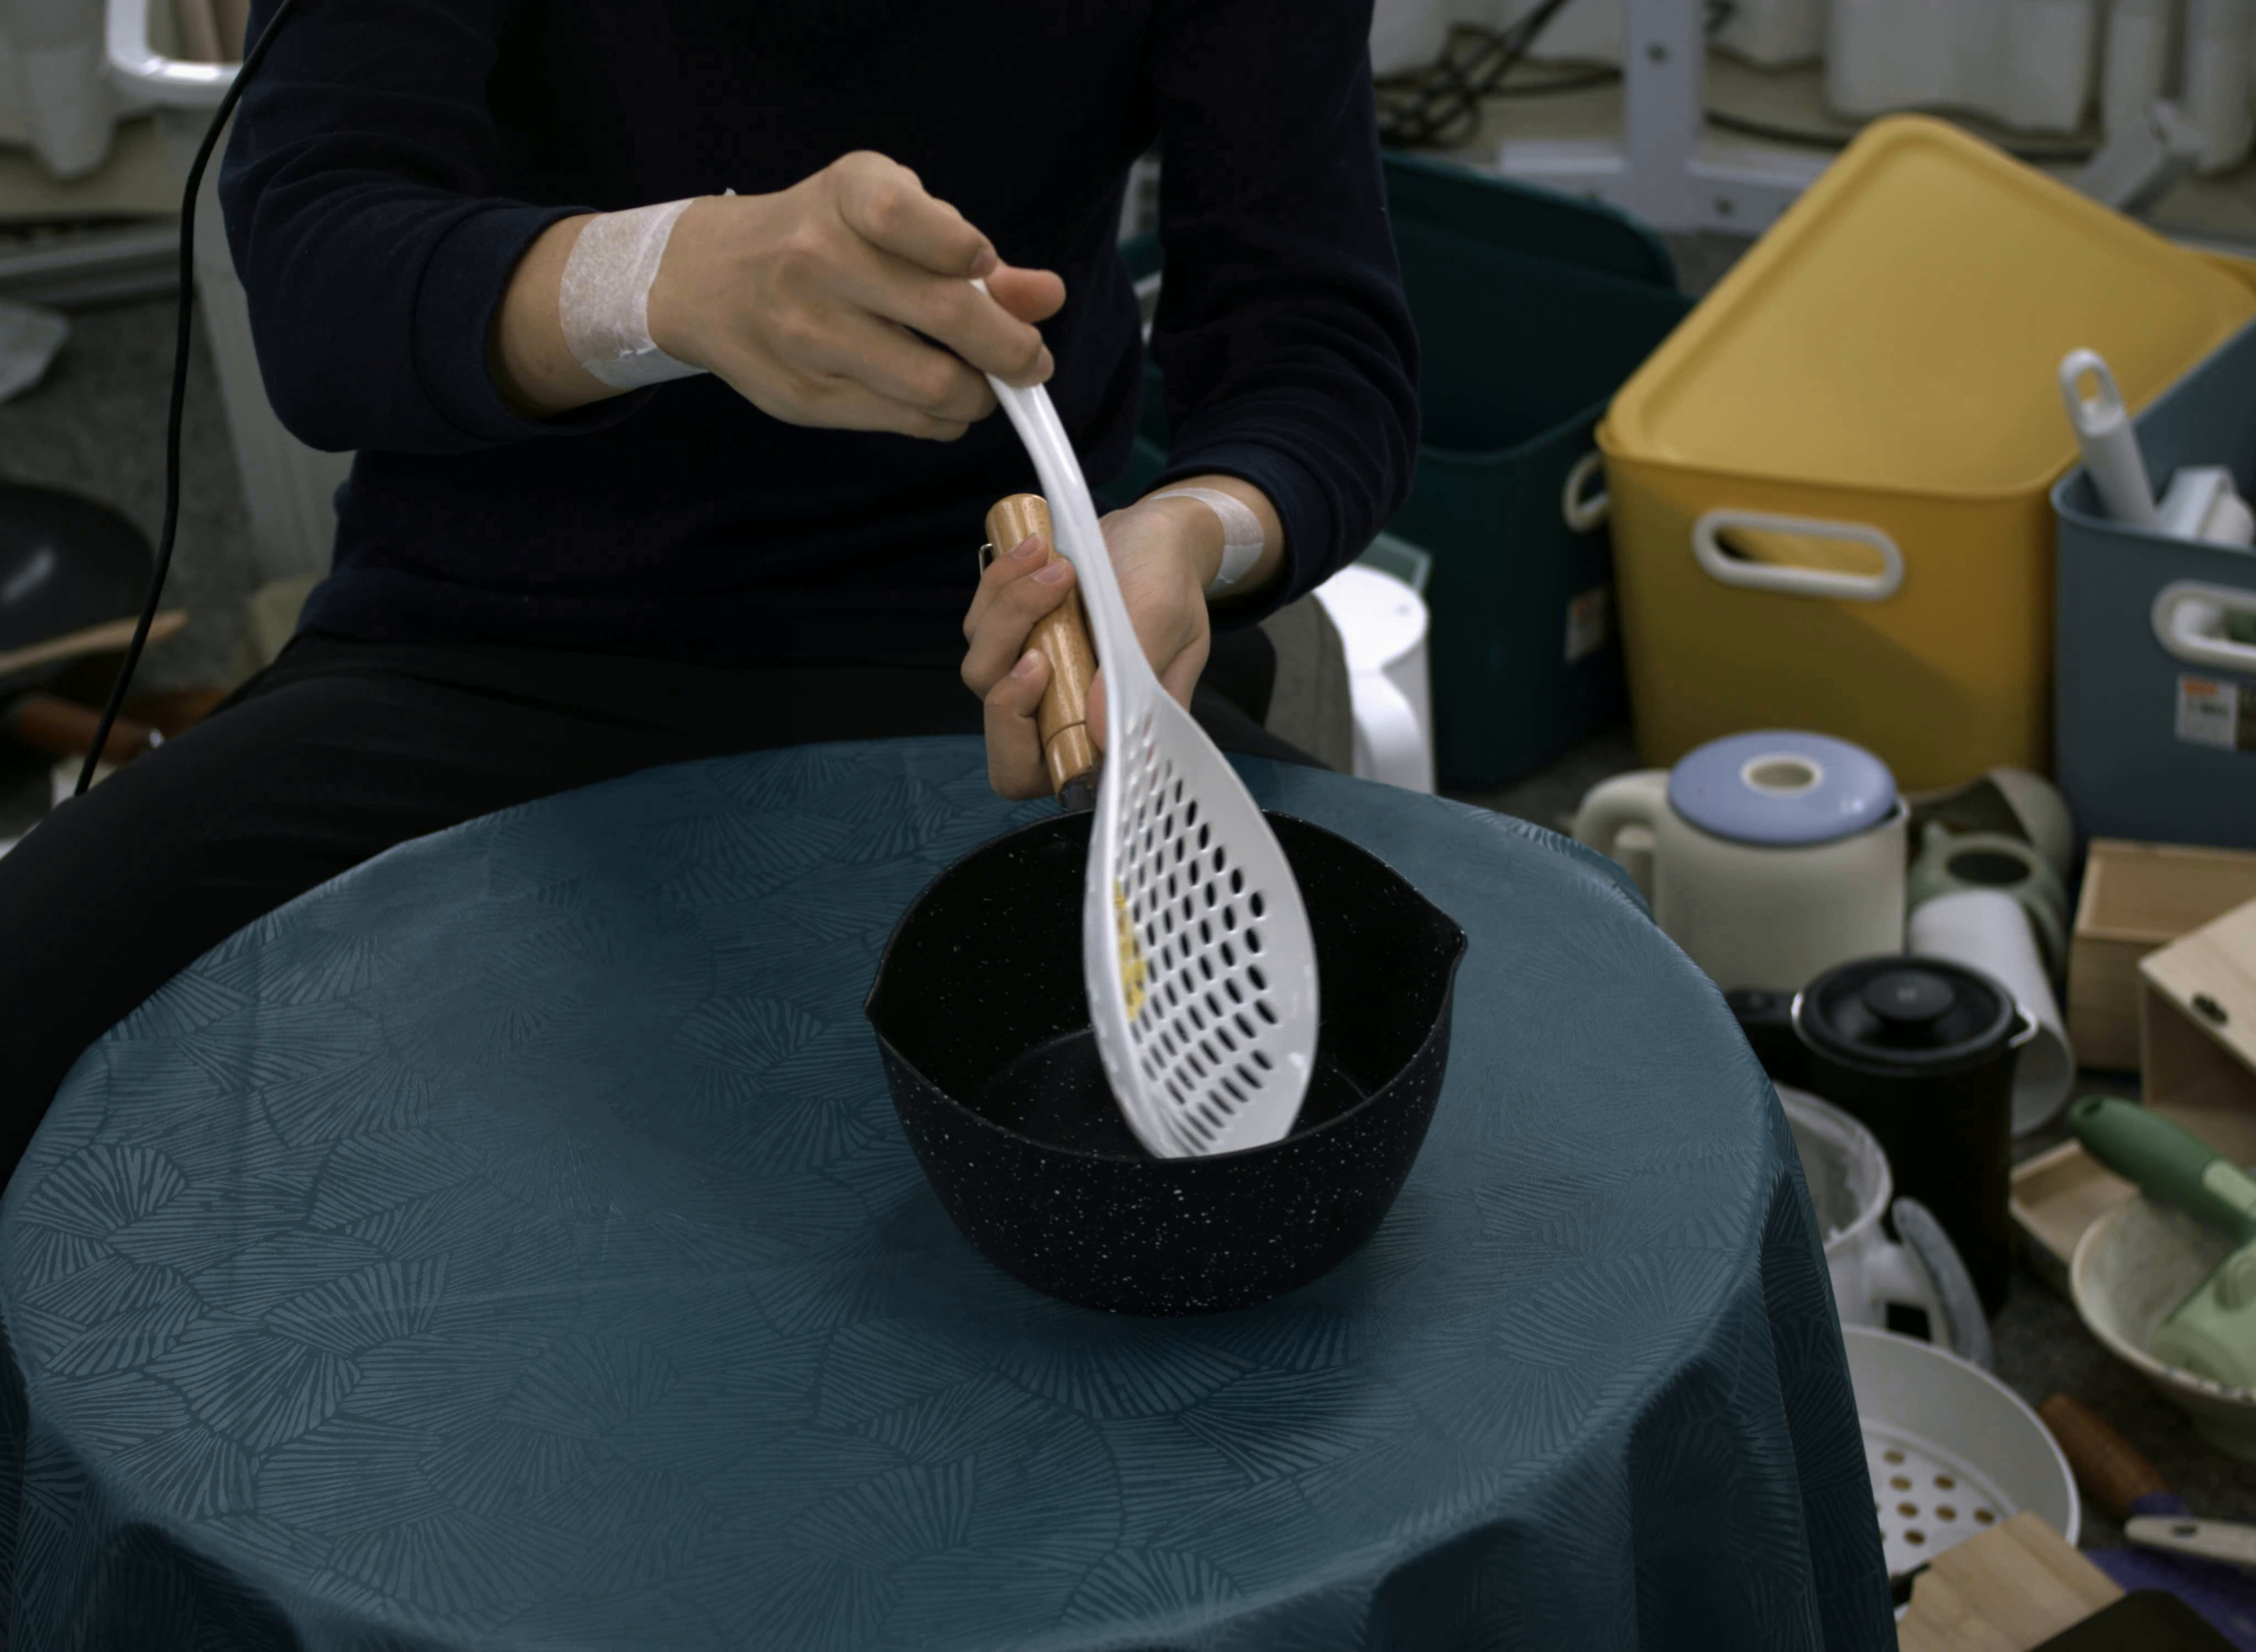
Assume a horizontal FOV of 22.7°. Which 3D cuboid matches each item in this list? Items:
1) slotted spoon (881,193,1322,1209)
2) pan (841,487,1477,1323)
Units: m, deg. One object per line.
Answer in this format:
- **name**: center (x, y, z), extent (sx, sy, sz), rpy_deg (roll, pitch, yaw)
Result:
- **slotted spoon**: center (-0.011, -0.040, 1.737), extent (0.050, 0.344, 0.139), rpy_deg (0, 30, 25)
- **pan**: center (-0.005, 0.024, 1.884), extent (0.207, 0.106, 0.348), rpy_deg (-9, 39, -9)
